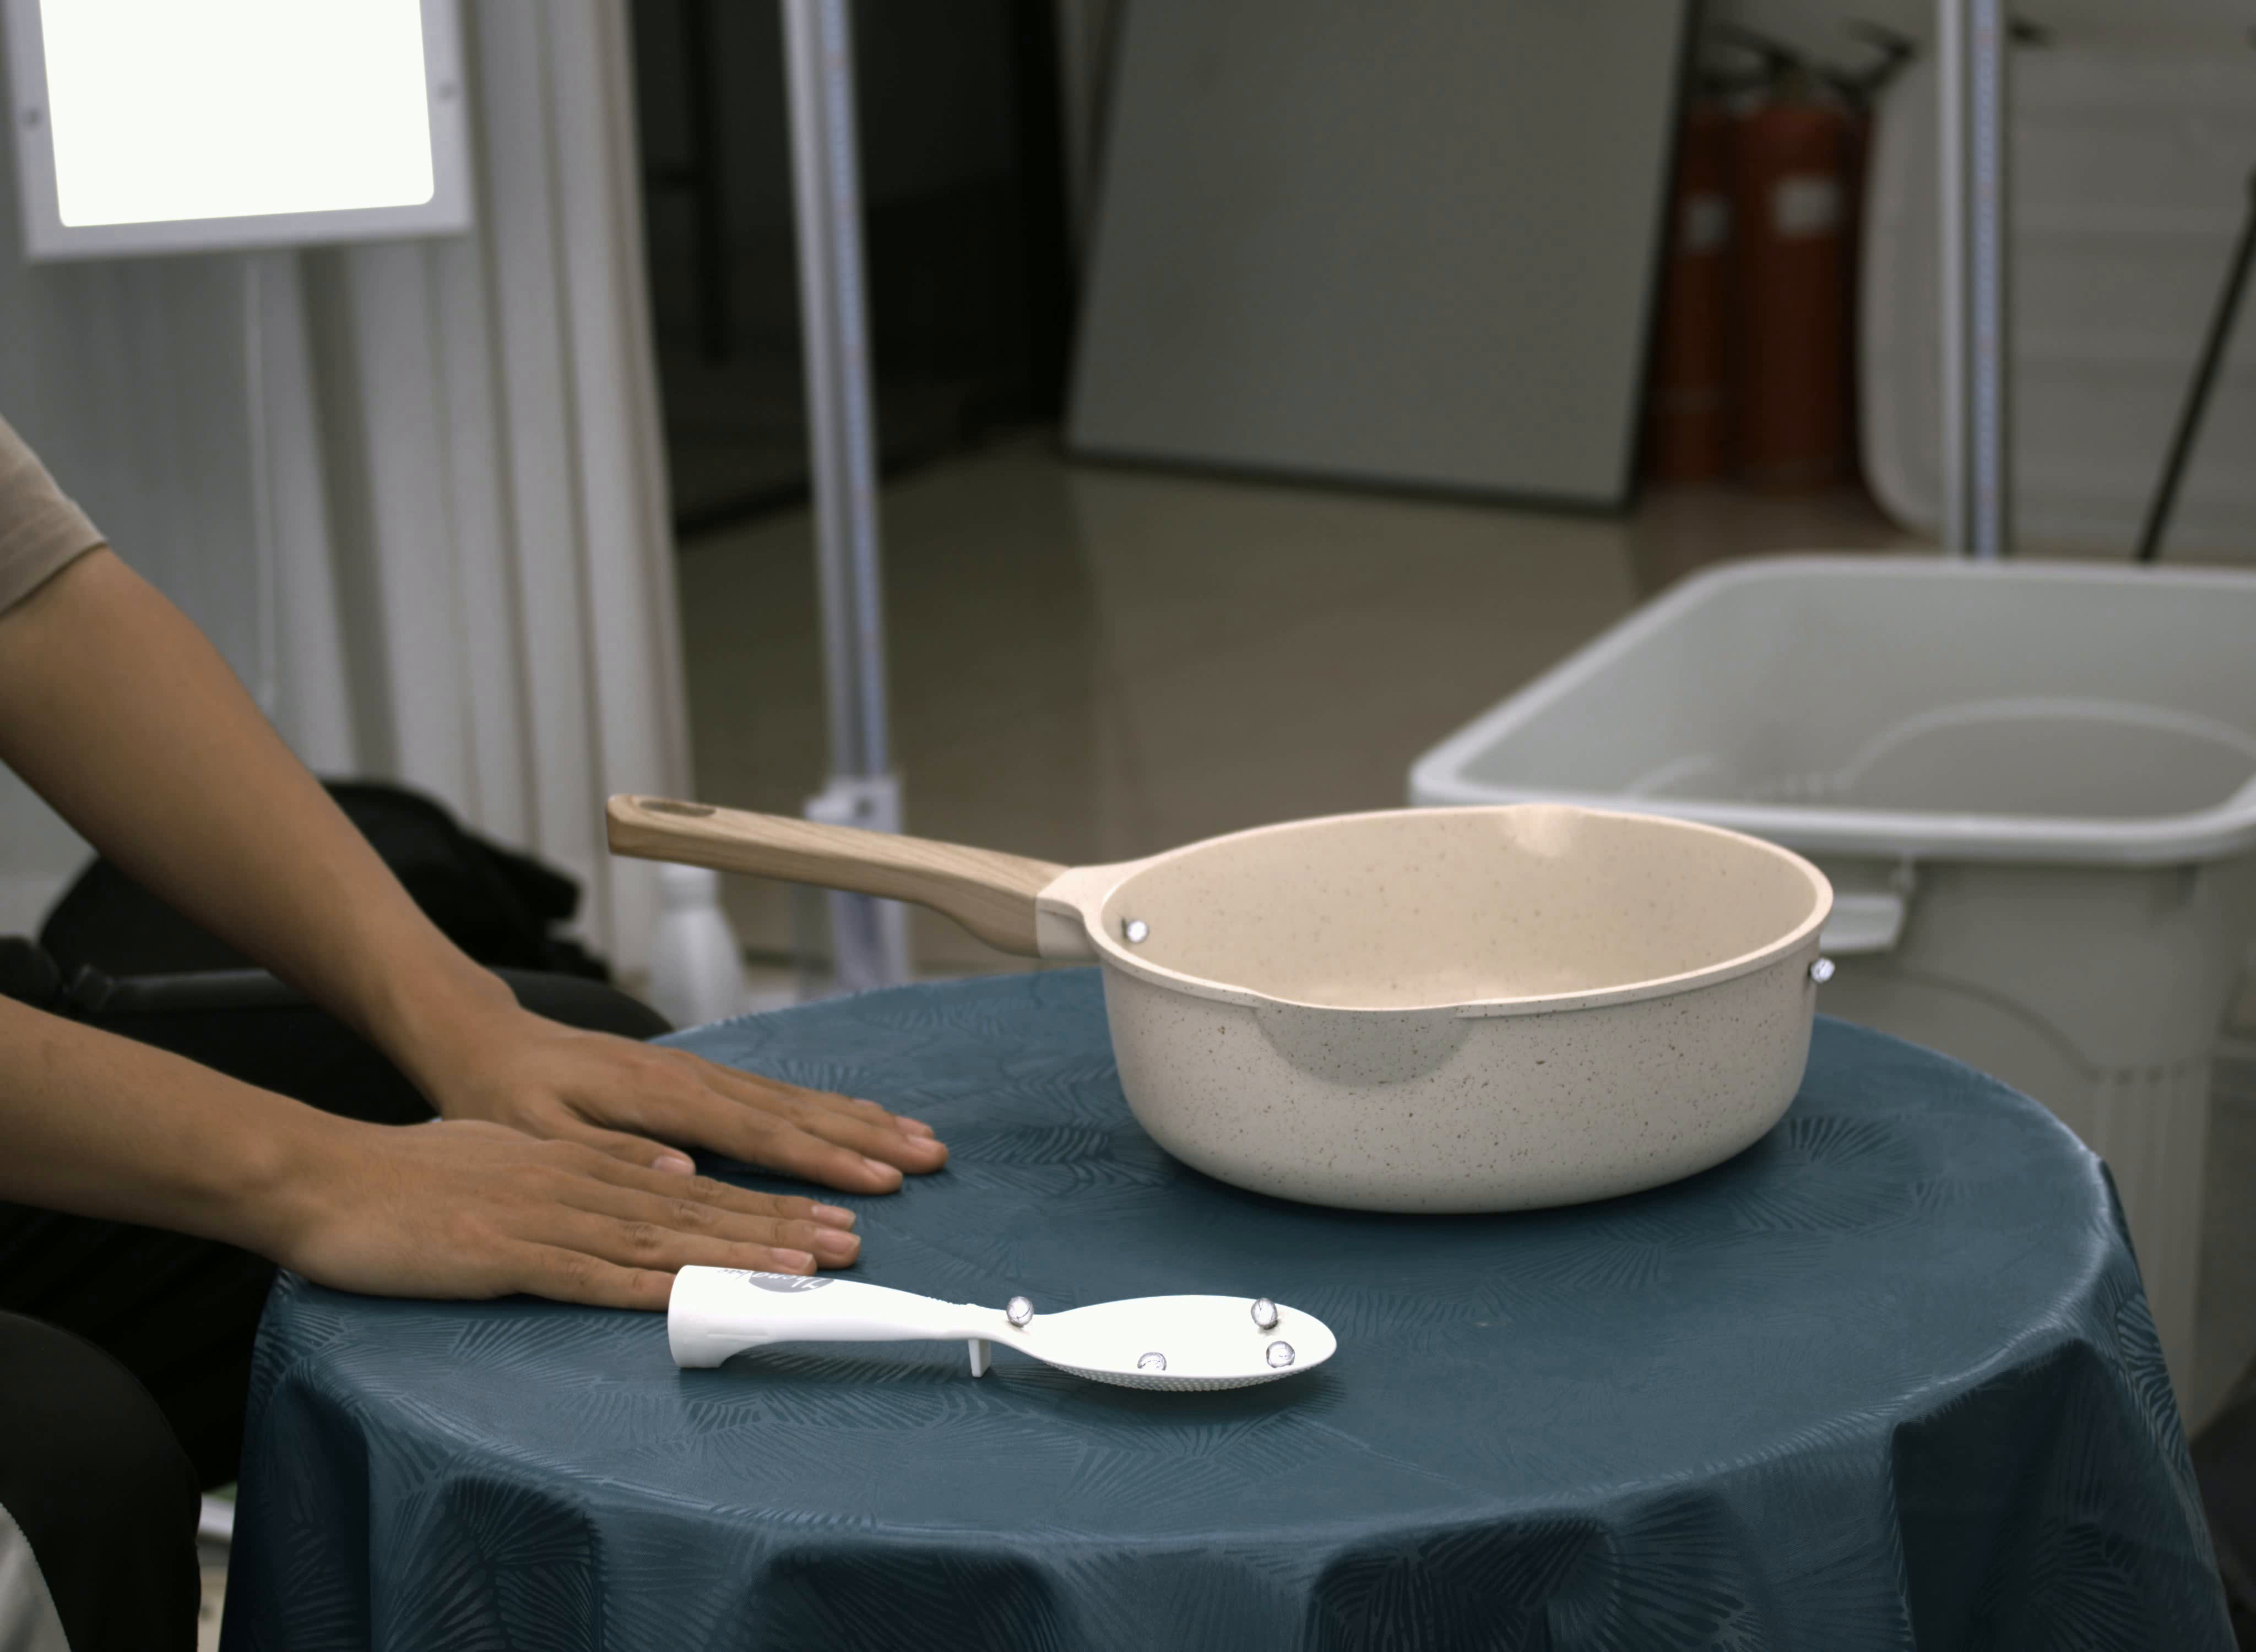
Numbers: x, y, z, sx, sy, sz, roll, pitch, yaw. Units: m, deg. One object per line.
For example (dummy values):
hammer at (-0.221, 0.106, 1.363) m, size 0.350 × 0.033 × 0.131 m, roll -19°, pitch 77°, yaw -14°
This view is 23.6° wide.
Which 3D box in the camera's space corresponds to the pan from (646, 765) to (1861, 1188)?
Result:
pan at (0.039, 0.045, 1.856) m, size 0.434 × 0.103 × 0.261 m, roll 1°, pitch 16°, yaw 20°

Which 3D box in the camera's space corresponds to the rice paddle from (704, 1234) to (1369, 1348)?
rice paddle at (-0.027, 0.138, 1.617) m, size 0.204 × 0.030 × 0.068 m, roll 0°, pitch 16°, yaw 16°
